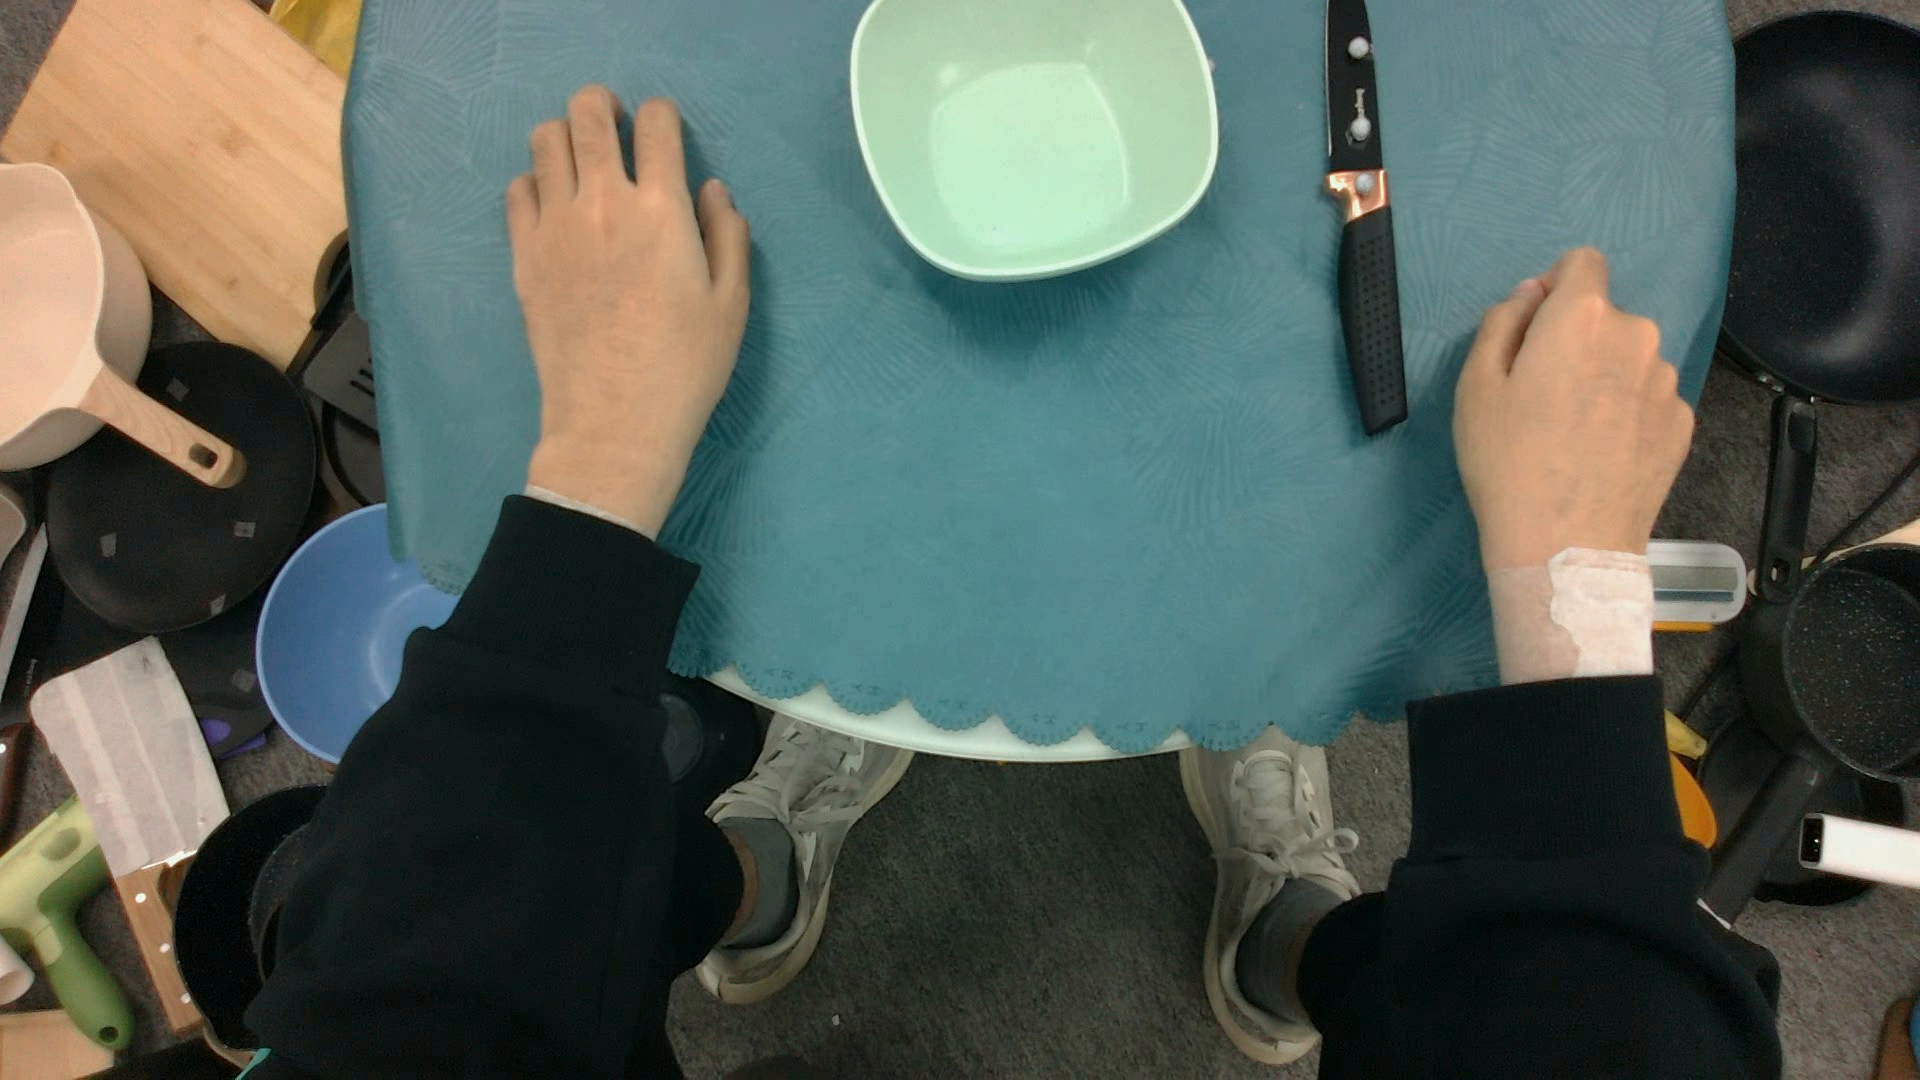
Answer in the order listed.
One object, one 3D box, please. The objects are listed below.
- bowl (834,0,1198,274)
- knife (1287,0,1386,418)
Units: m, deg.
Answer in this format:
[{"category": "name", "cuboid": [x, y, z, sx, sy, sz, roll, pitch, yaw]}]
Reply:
[{"category": "bowl", "cuboid": [0.021, -0.168, 0.564, 0.151, 0.058, 0.151, 0, 79, -1]}, {"category": "knife", "cuboid": [0.158, -0.160, 0.584, 0.026, 0.017, 0.226, -5, 78, 7]}]
